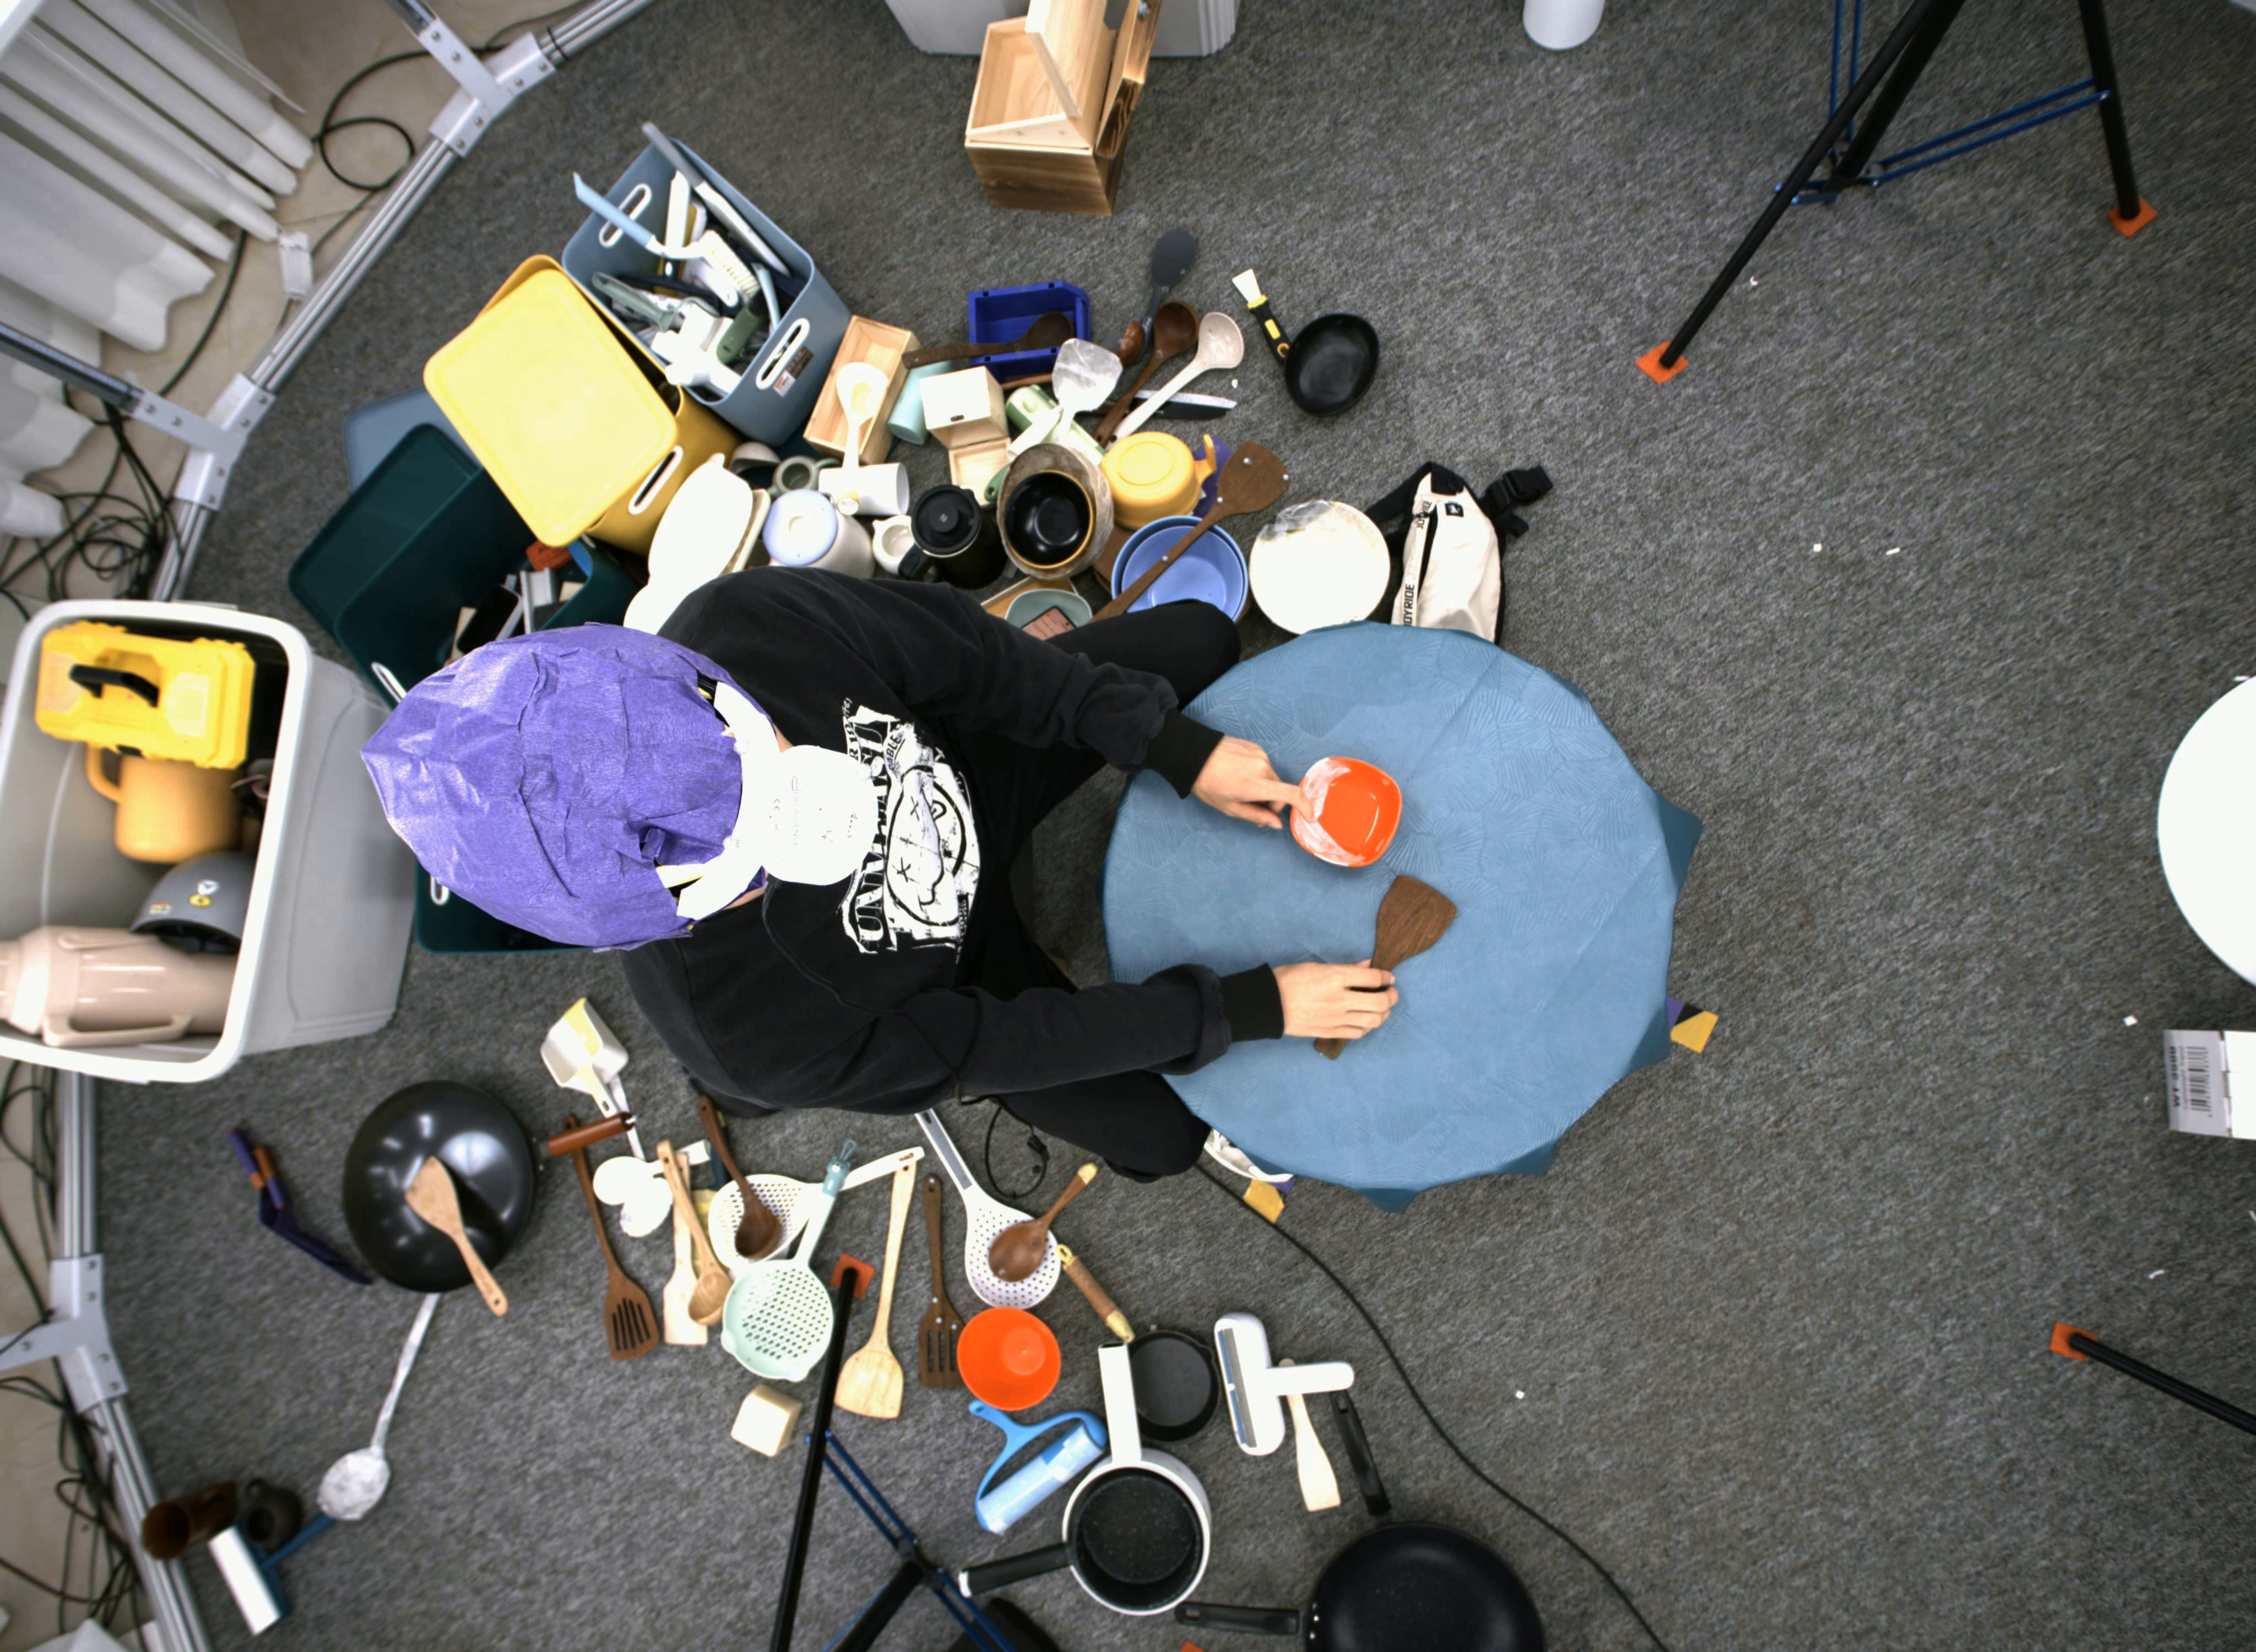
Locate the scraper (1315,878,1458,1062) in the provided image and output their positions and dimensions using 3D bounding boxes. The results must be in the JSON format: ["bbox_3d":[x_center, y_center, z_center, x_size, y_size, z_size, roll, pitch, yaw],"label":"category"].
[{"bbox_3d":[0.263,0.155,1.456,0.075,0.011,0.212,34,93,12],"label":"scraper"}]

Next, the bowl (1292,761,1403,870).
[{"bbox_3d":[0.231,-0.010,1.453,0.119,0.051,0.118,-1,87,10],"label":"bowl"}]
